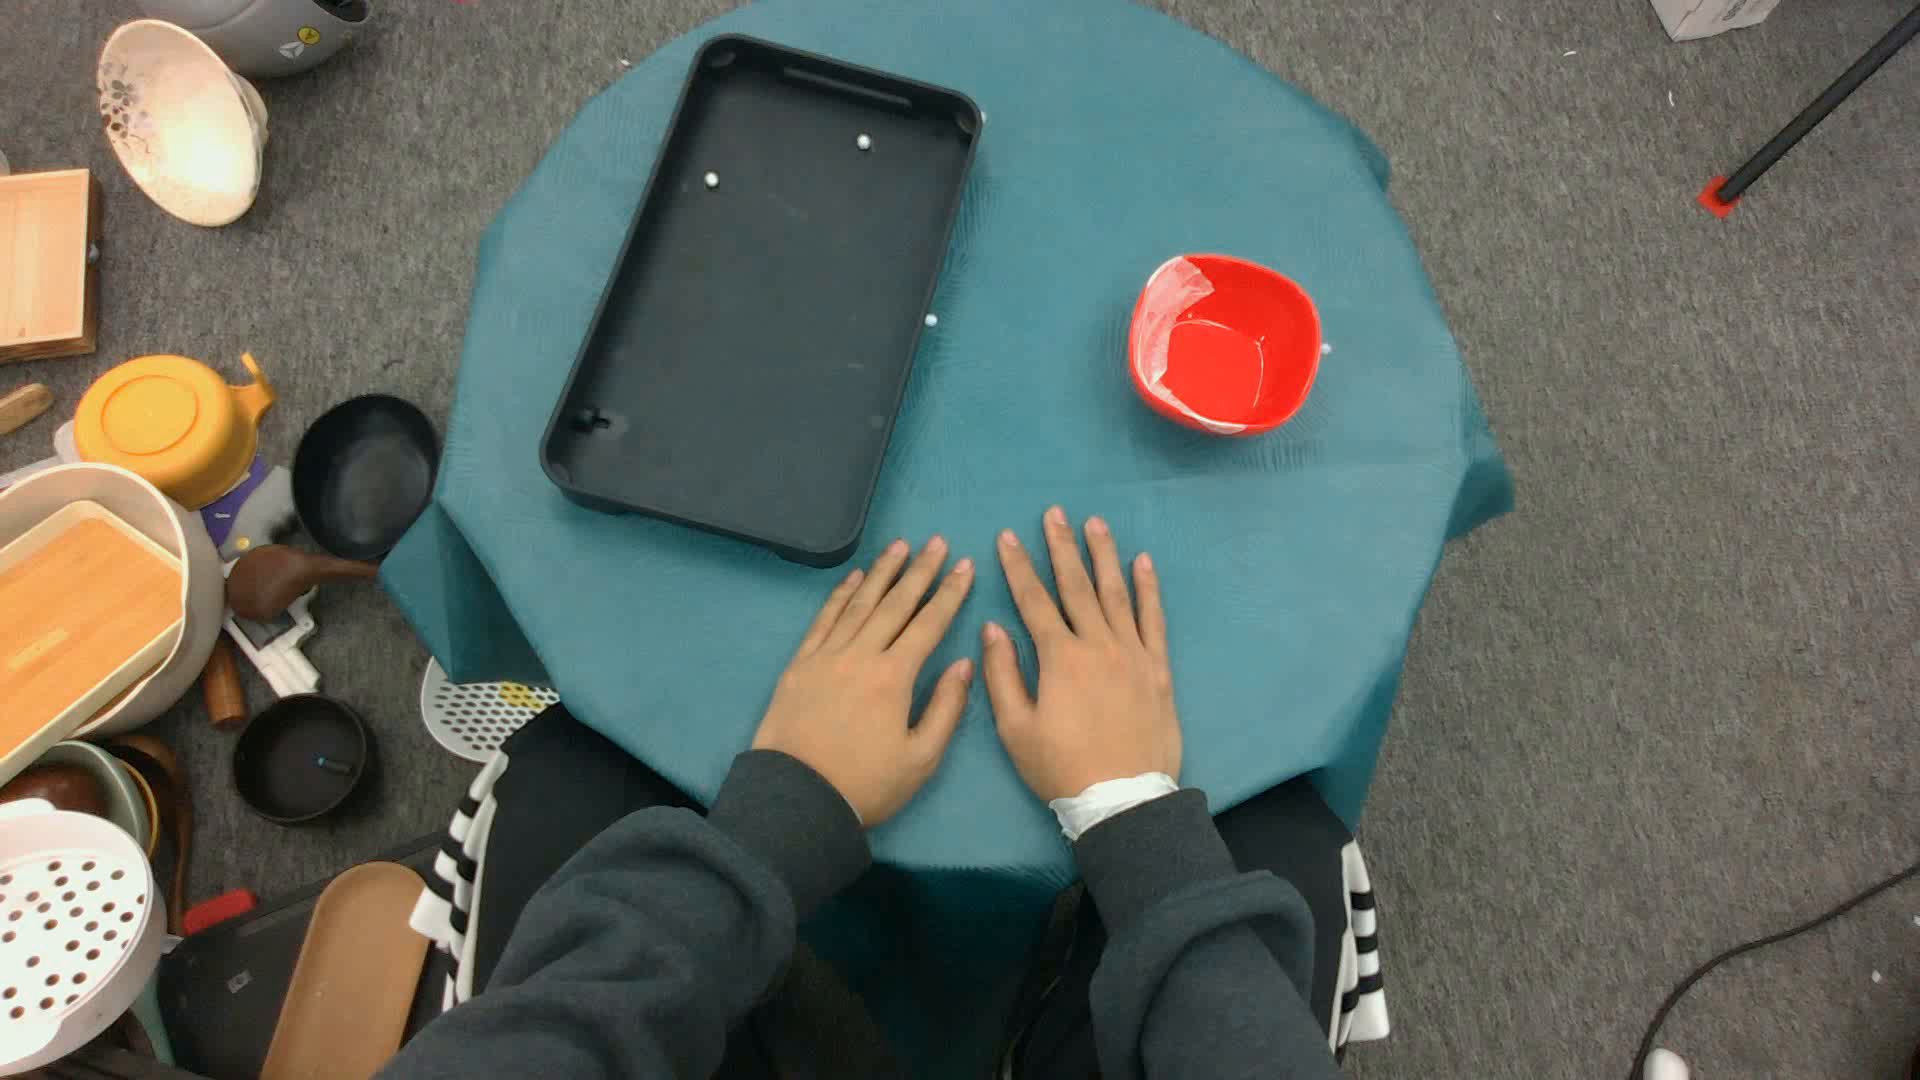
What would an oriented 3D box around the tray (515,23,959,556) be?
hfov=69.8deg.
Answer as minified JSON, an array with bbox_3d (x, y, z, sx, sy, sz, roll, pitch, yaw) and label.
[{"bbox_3d":[-0.122,-0.155,0.814,0.184,0.037,0.319,14,69,0],"label":"tray"}]

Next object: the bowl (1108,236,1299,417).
[{"bbox_3d":[0.139,-0.118,0.814,0.119,0.051,0.119,2,68,-5],"label":"bowl"}]
